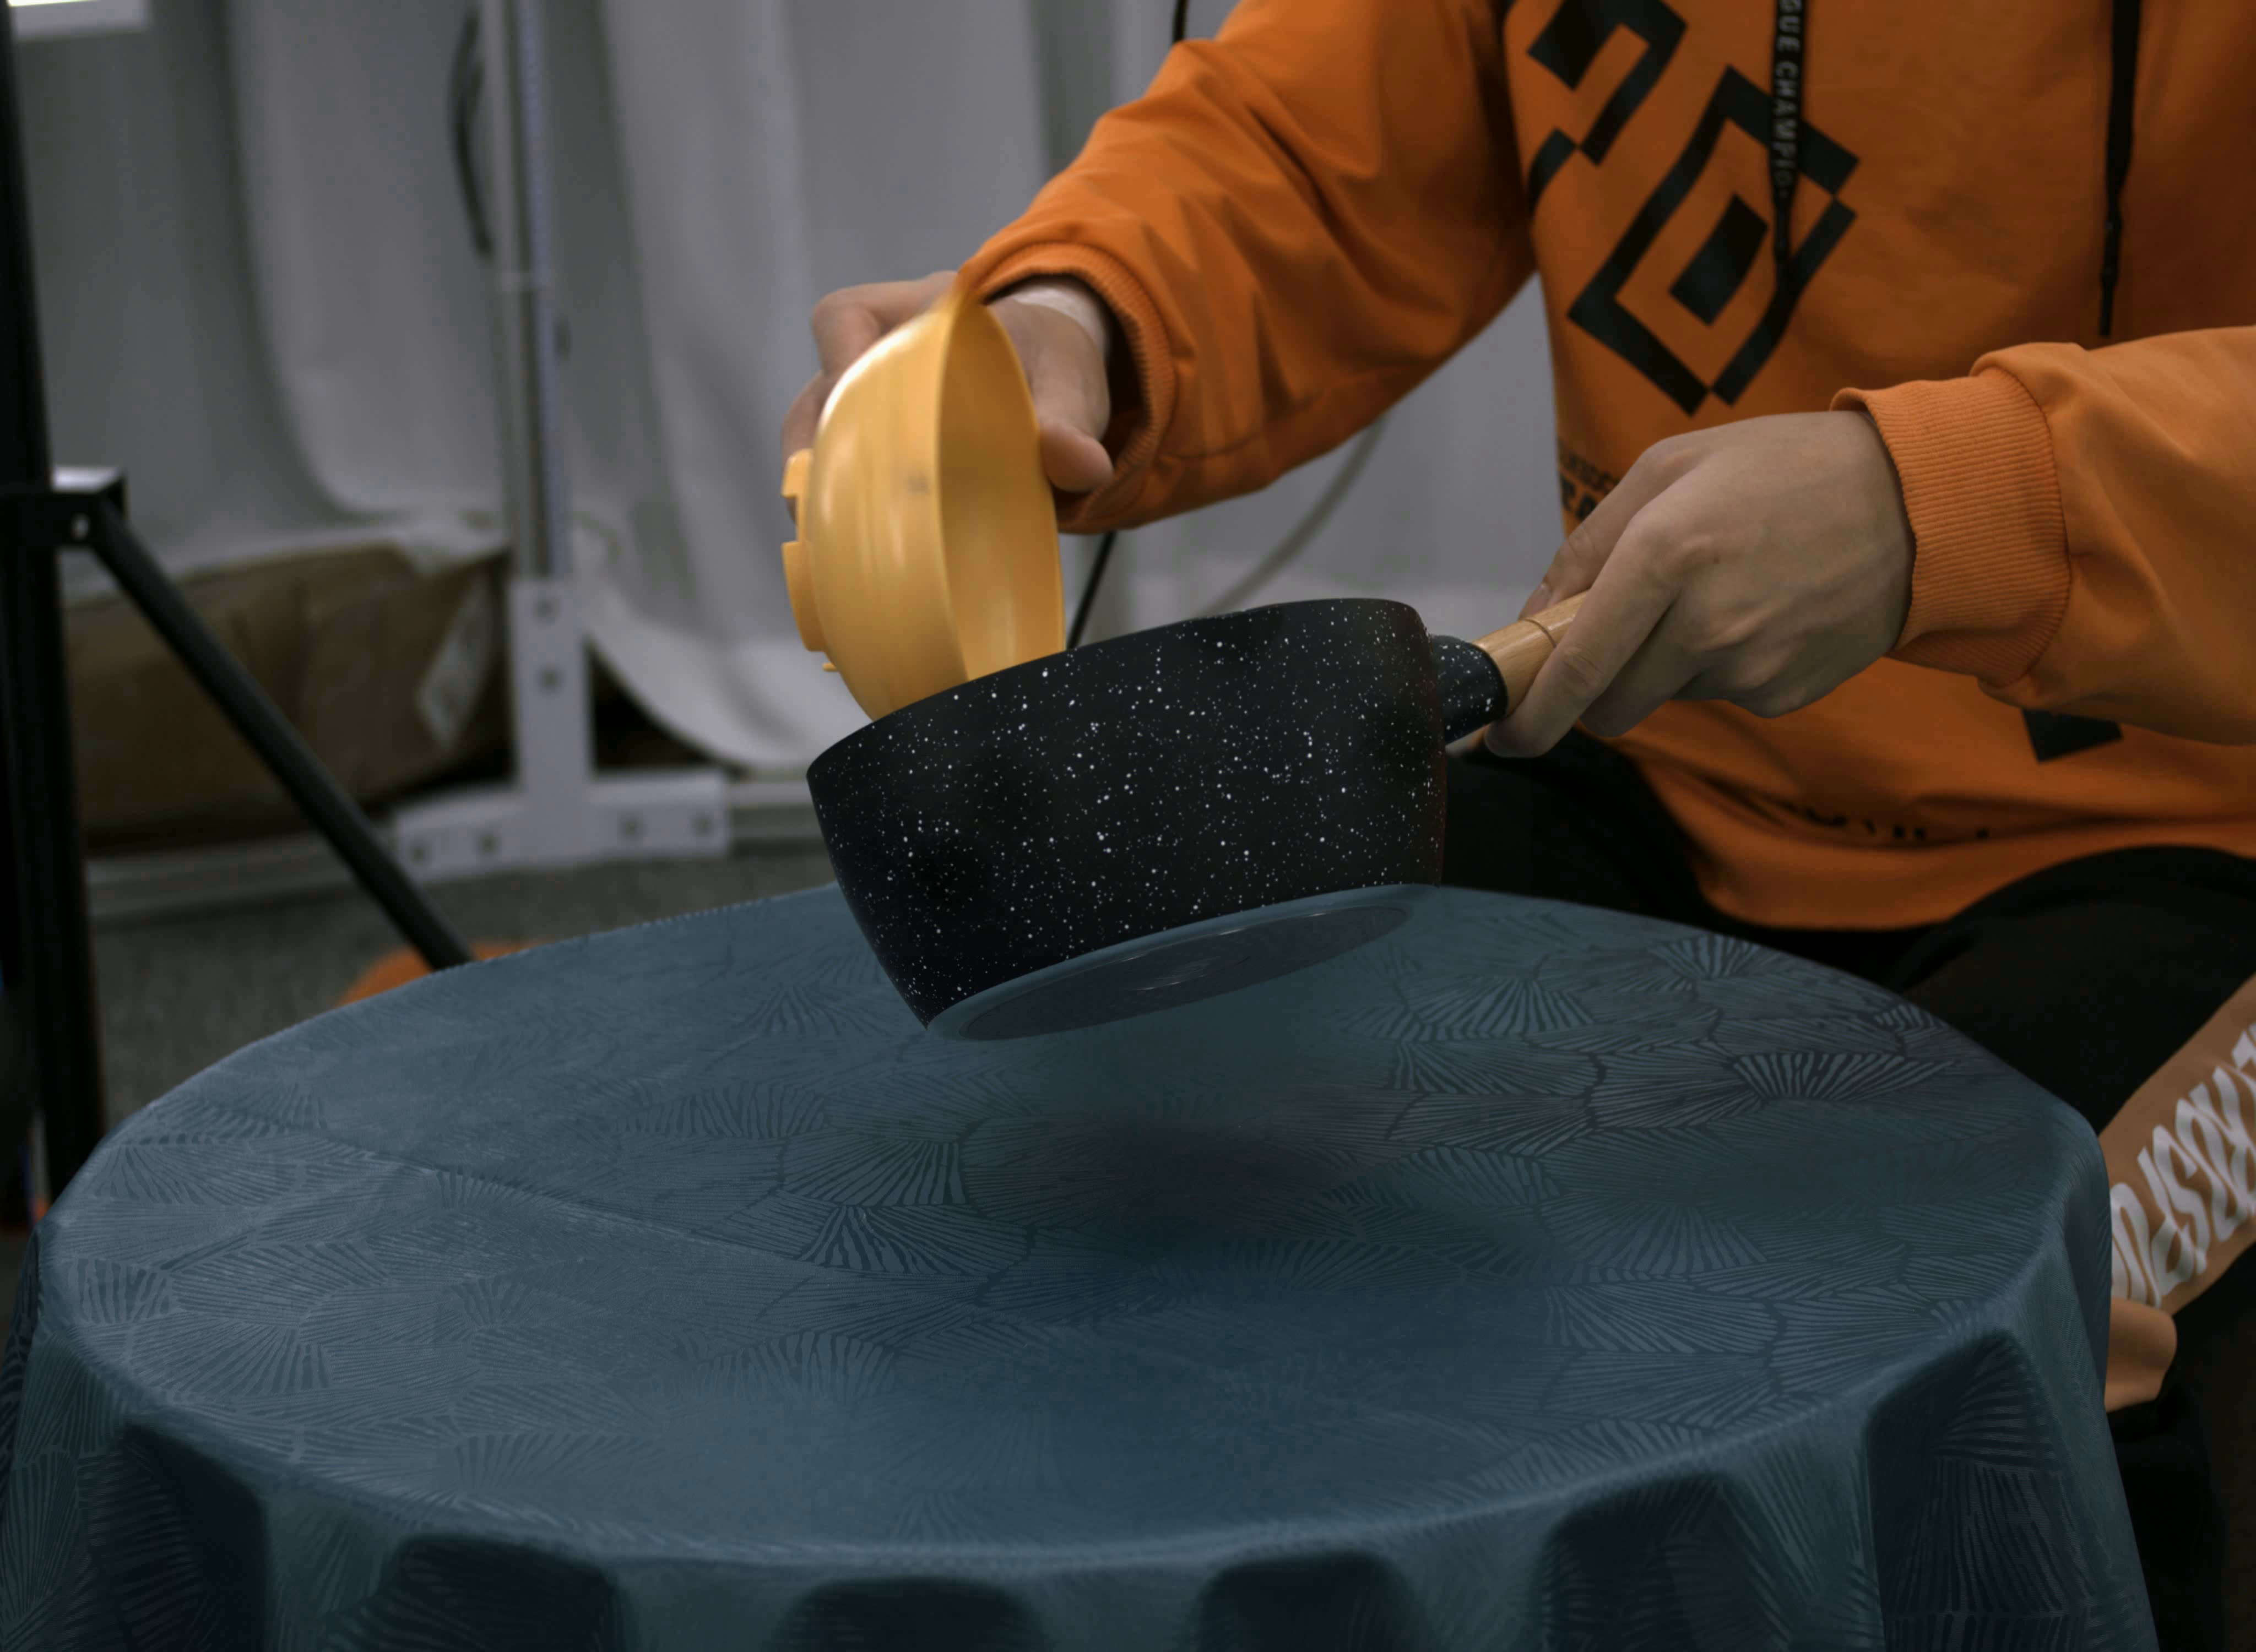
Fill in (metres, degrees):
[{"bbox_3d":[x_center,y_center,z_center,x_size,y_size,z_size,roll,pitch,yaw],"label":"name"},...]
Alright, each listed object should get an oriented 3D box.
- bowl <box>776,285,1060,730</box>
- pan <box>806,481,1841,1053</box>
[{"bbox_3d":[-0.066,-0.084,1.576,0.060,0.145,0.144,-6,14,13],"label":"bowl"},{"bbox_3d":[0.074,-0.021,1.567,0.336,0.109,0.209,-12,-11,-24],"label":"pan"}]
